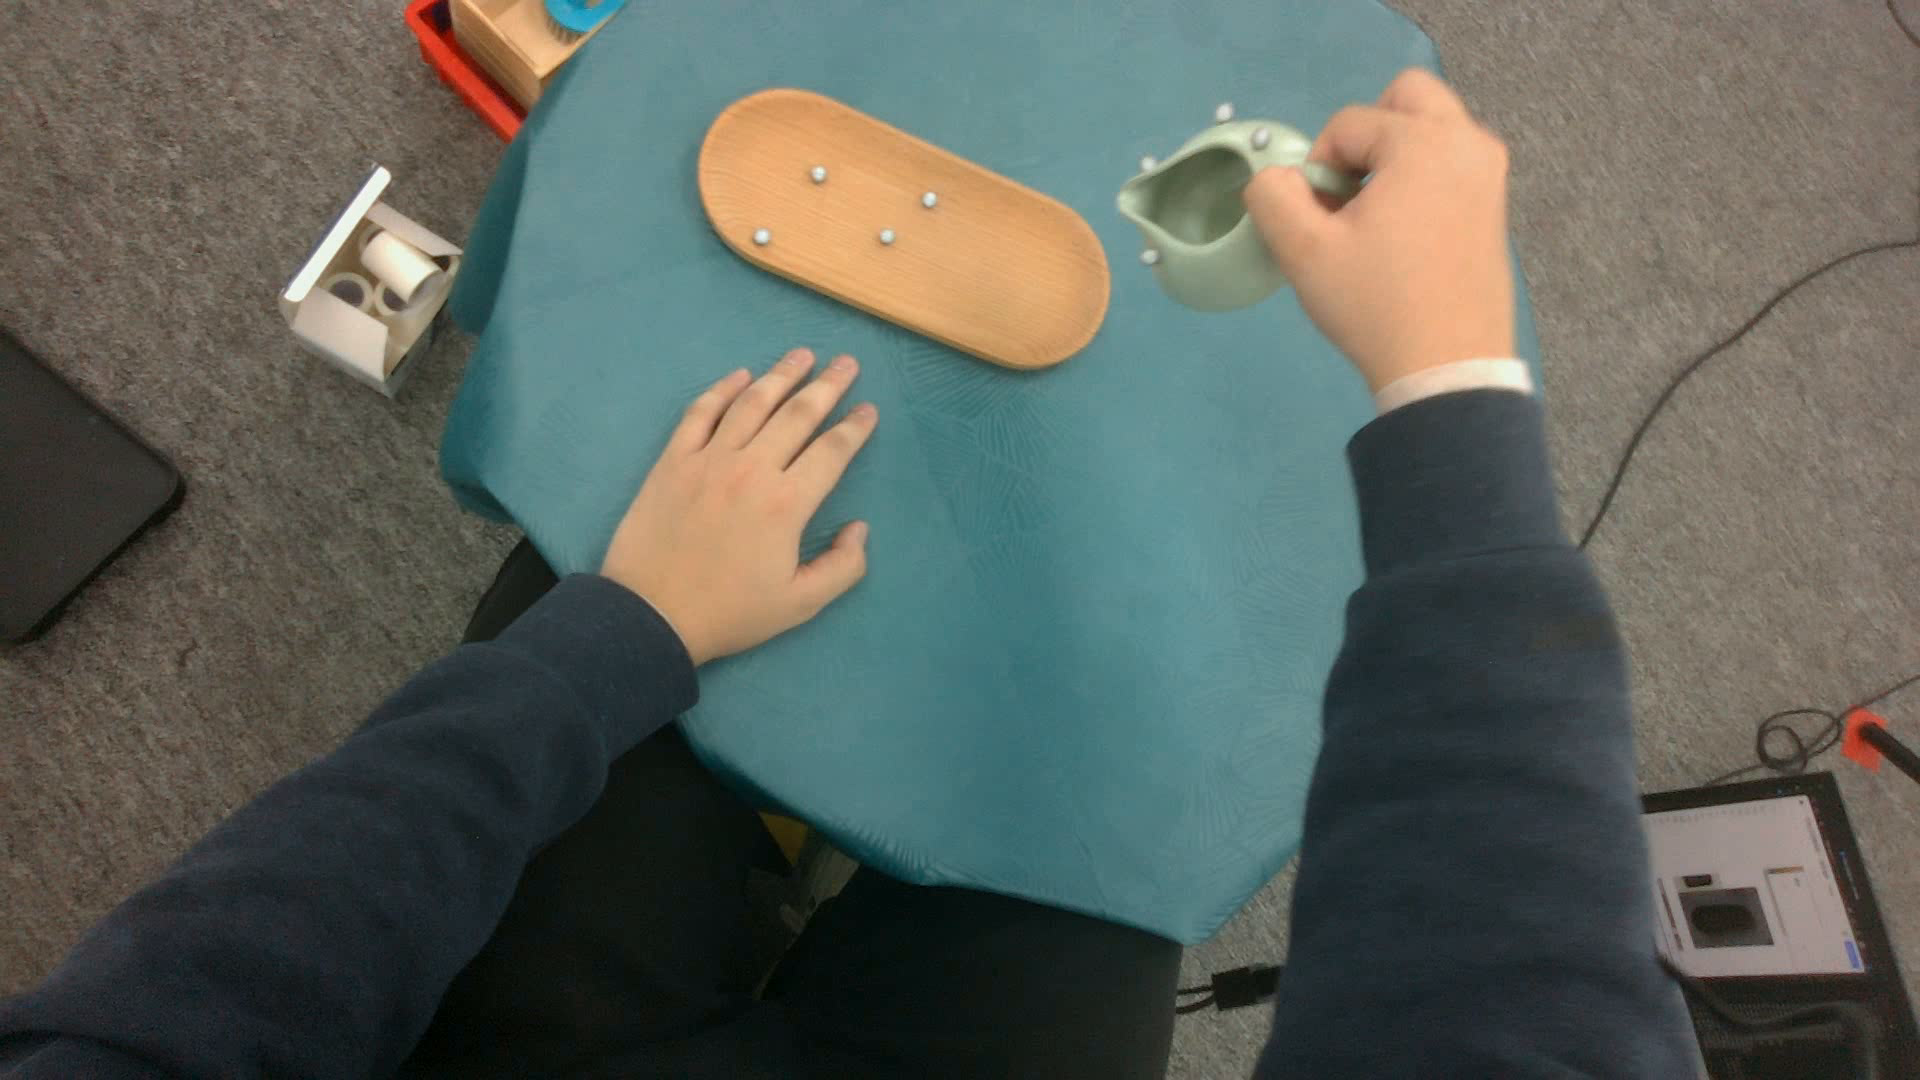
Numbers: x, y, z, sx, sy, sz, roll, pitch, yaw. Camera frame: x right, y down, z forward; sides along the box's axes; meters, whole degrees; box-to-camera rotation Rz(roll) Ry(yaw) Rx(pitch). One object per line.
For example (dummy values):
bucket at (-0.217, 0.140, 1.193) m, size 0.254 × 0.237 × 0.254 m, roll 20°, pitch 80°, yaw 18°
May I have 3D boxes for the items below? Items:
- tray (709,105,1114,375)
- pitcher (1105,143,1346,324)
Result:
tray at (-0.024, -0.162, 0.753) m, size 0.231 × 0.020 × 0.102 m, roll 20°, pitch 76°, yaw -12°
pitcher at (0.126, -0.144, 0.632) m, size 0.060 × 0.108 × 0.086 m, roll 13°, pitch 83°, yaw -56°
